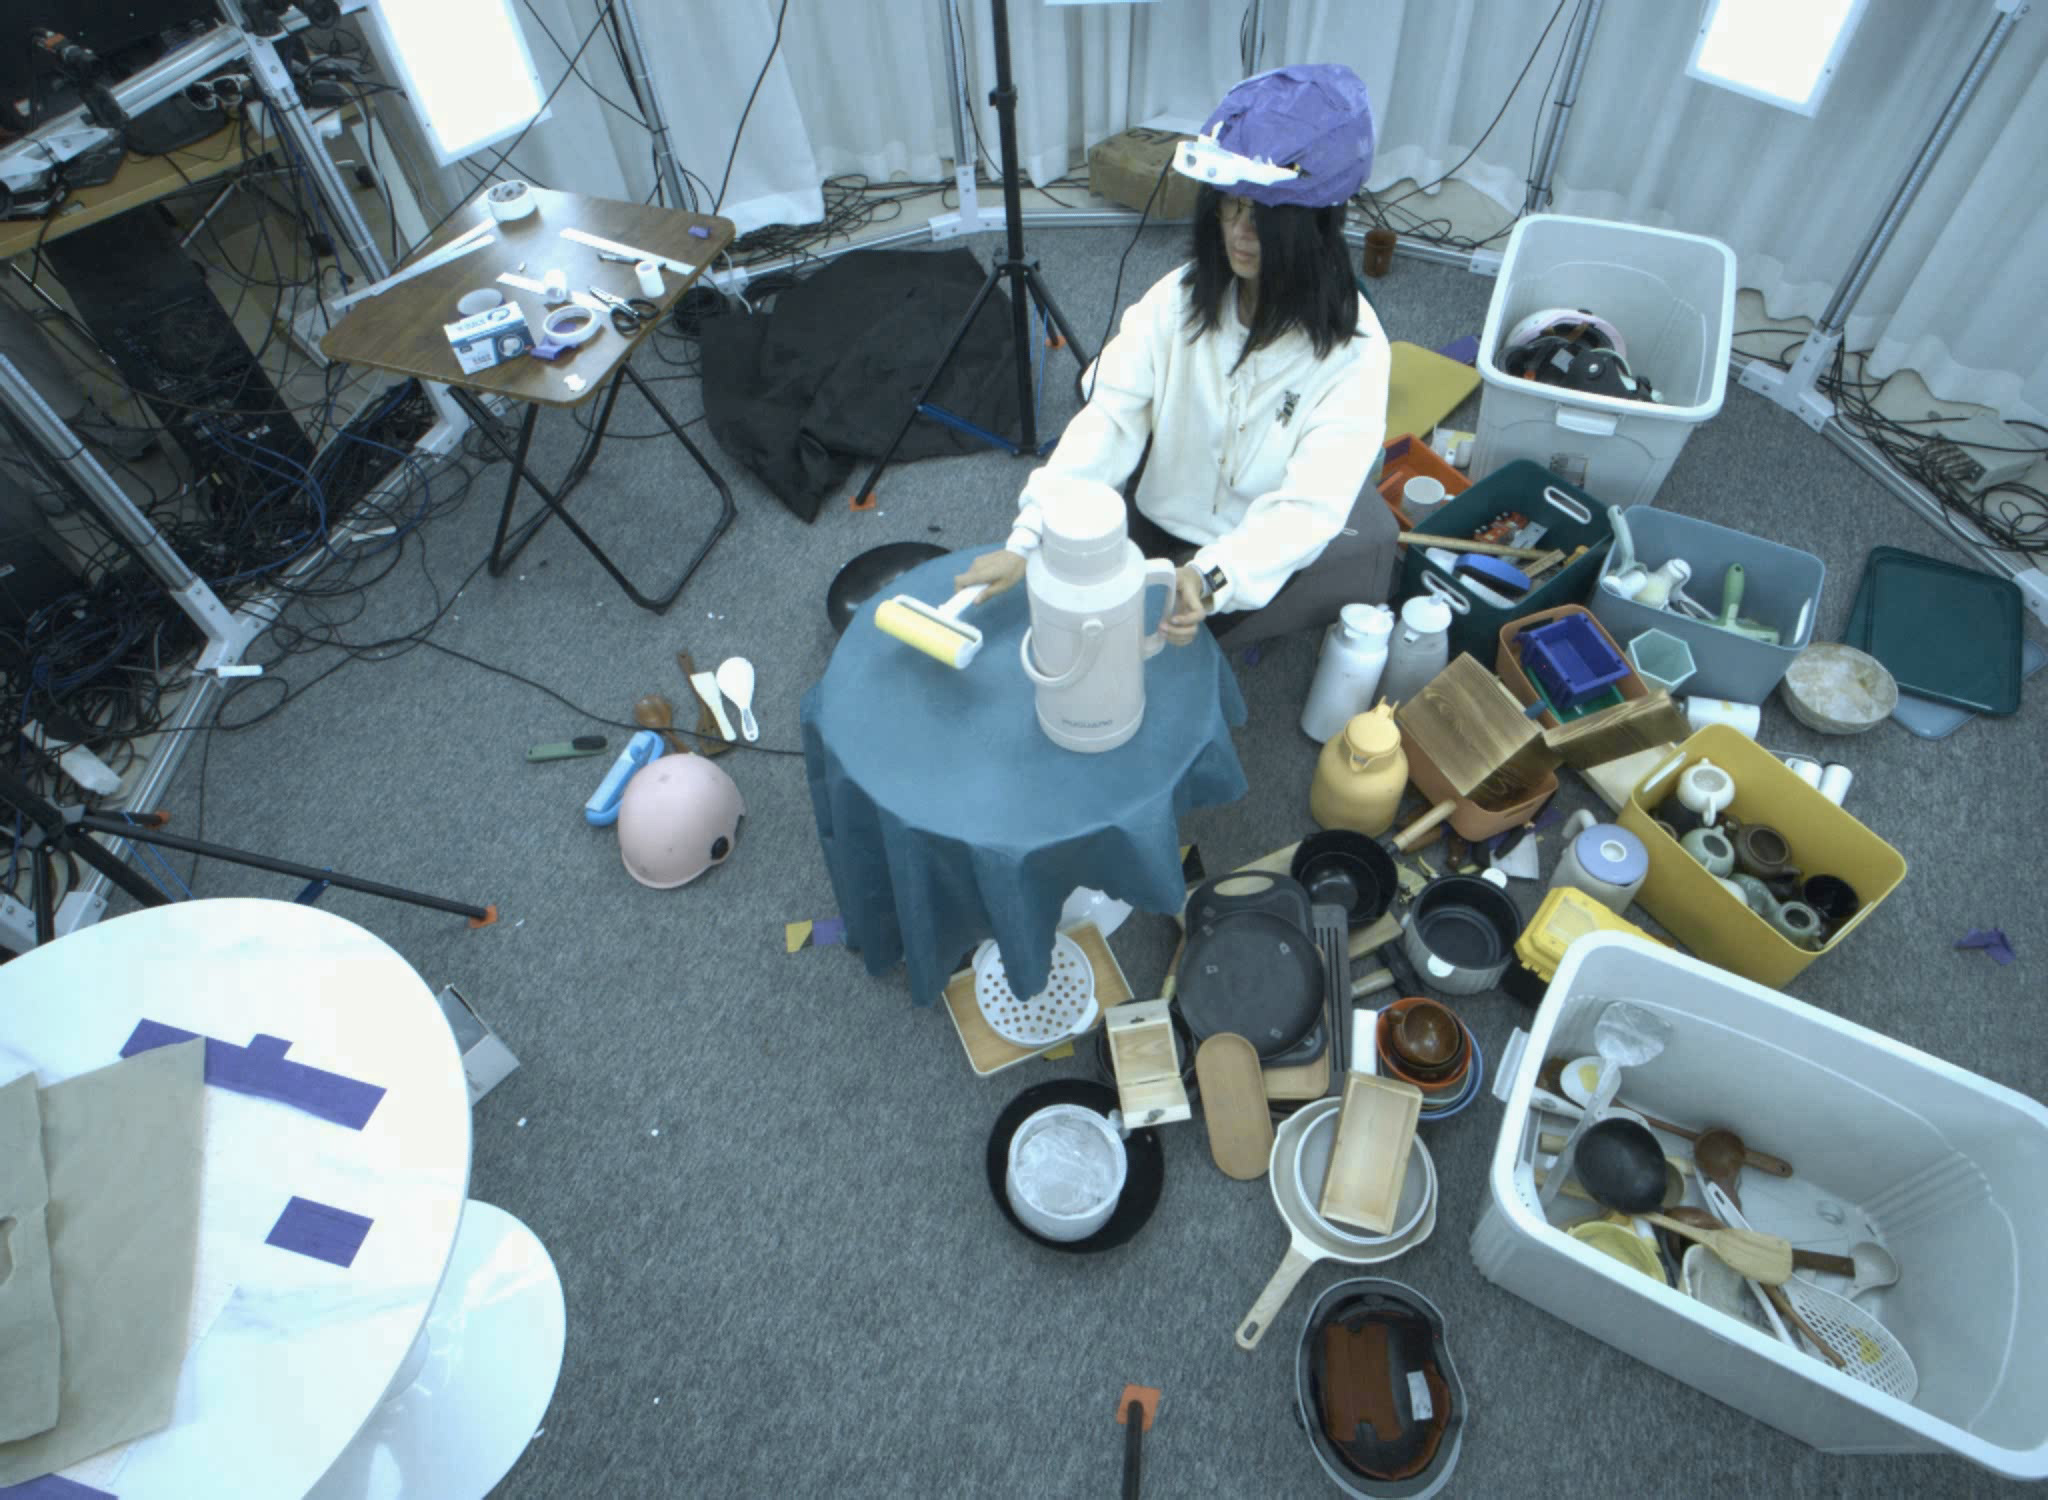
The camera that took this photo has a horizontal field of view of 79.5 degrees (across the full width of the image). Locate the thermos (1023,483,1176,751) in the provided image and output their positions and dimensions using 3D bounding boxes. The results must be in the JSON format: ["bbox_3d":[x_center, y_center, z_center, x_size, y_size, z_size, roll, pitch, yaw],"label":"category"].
[{"bbox_3d":[0.098,-0.176,1.665,0.207,0.411,0.173,-6,54,0],"label":"thermos"}]

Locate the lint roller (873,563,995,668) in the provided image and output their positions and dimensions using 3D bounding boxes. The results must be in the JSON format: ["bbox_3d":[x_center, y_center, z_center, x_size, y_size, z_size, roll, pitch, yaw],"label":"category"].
[{"bbox_3d":[-0.110,-0.226,1.848,0.171,0.052,0.192,27,68,25],"label":"lint roller"}]
